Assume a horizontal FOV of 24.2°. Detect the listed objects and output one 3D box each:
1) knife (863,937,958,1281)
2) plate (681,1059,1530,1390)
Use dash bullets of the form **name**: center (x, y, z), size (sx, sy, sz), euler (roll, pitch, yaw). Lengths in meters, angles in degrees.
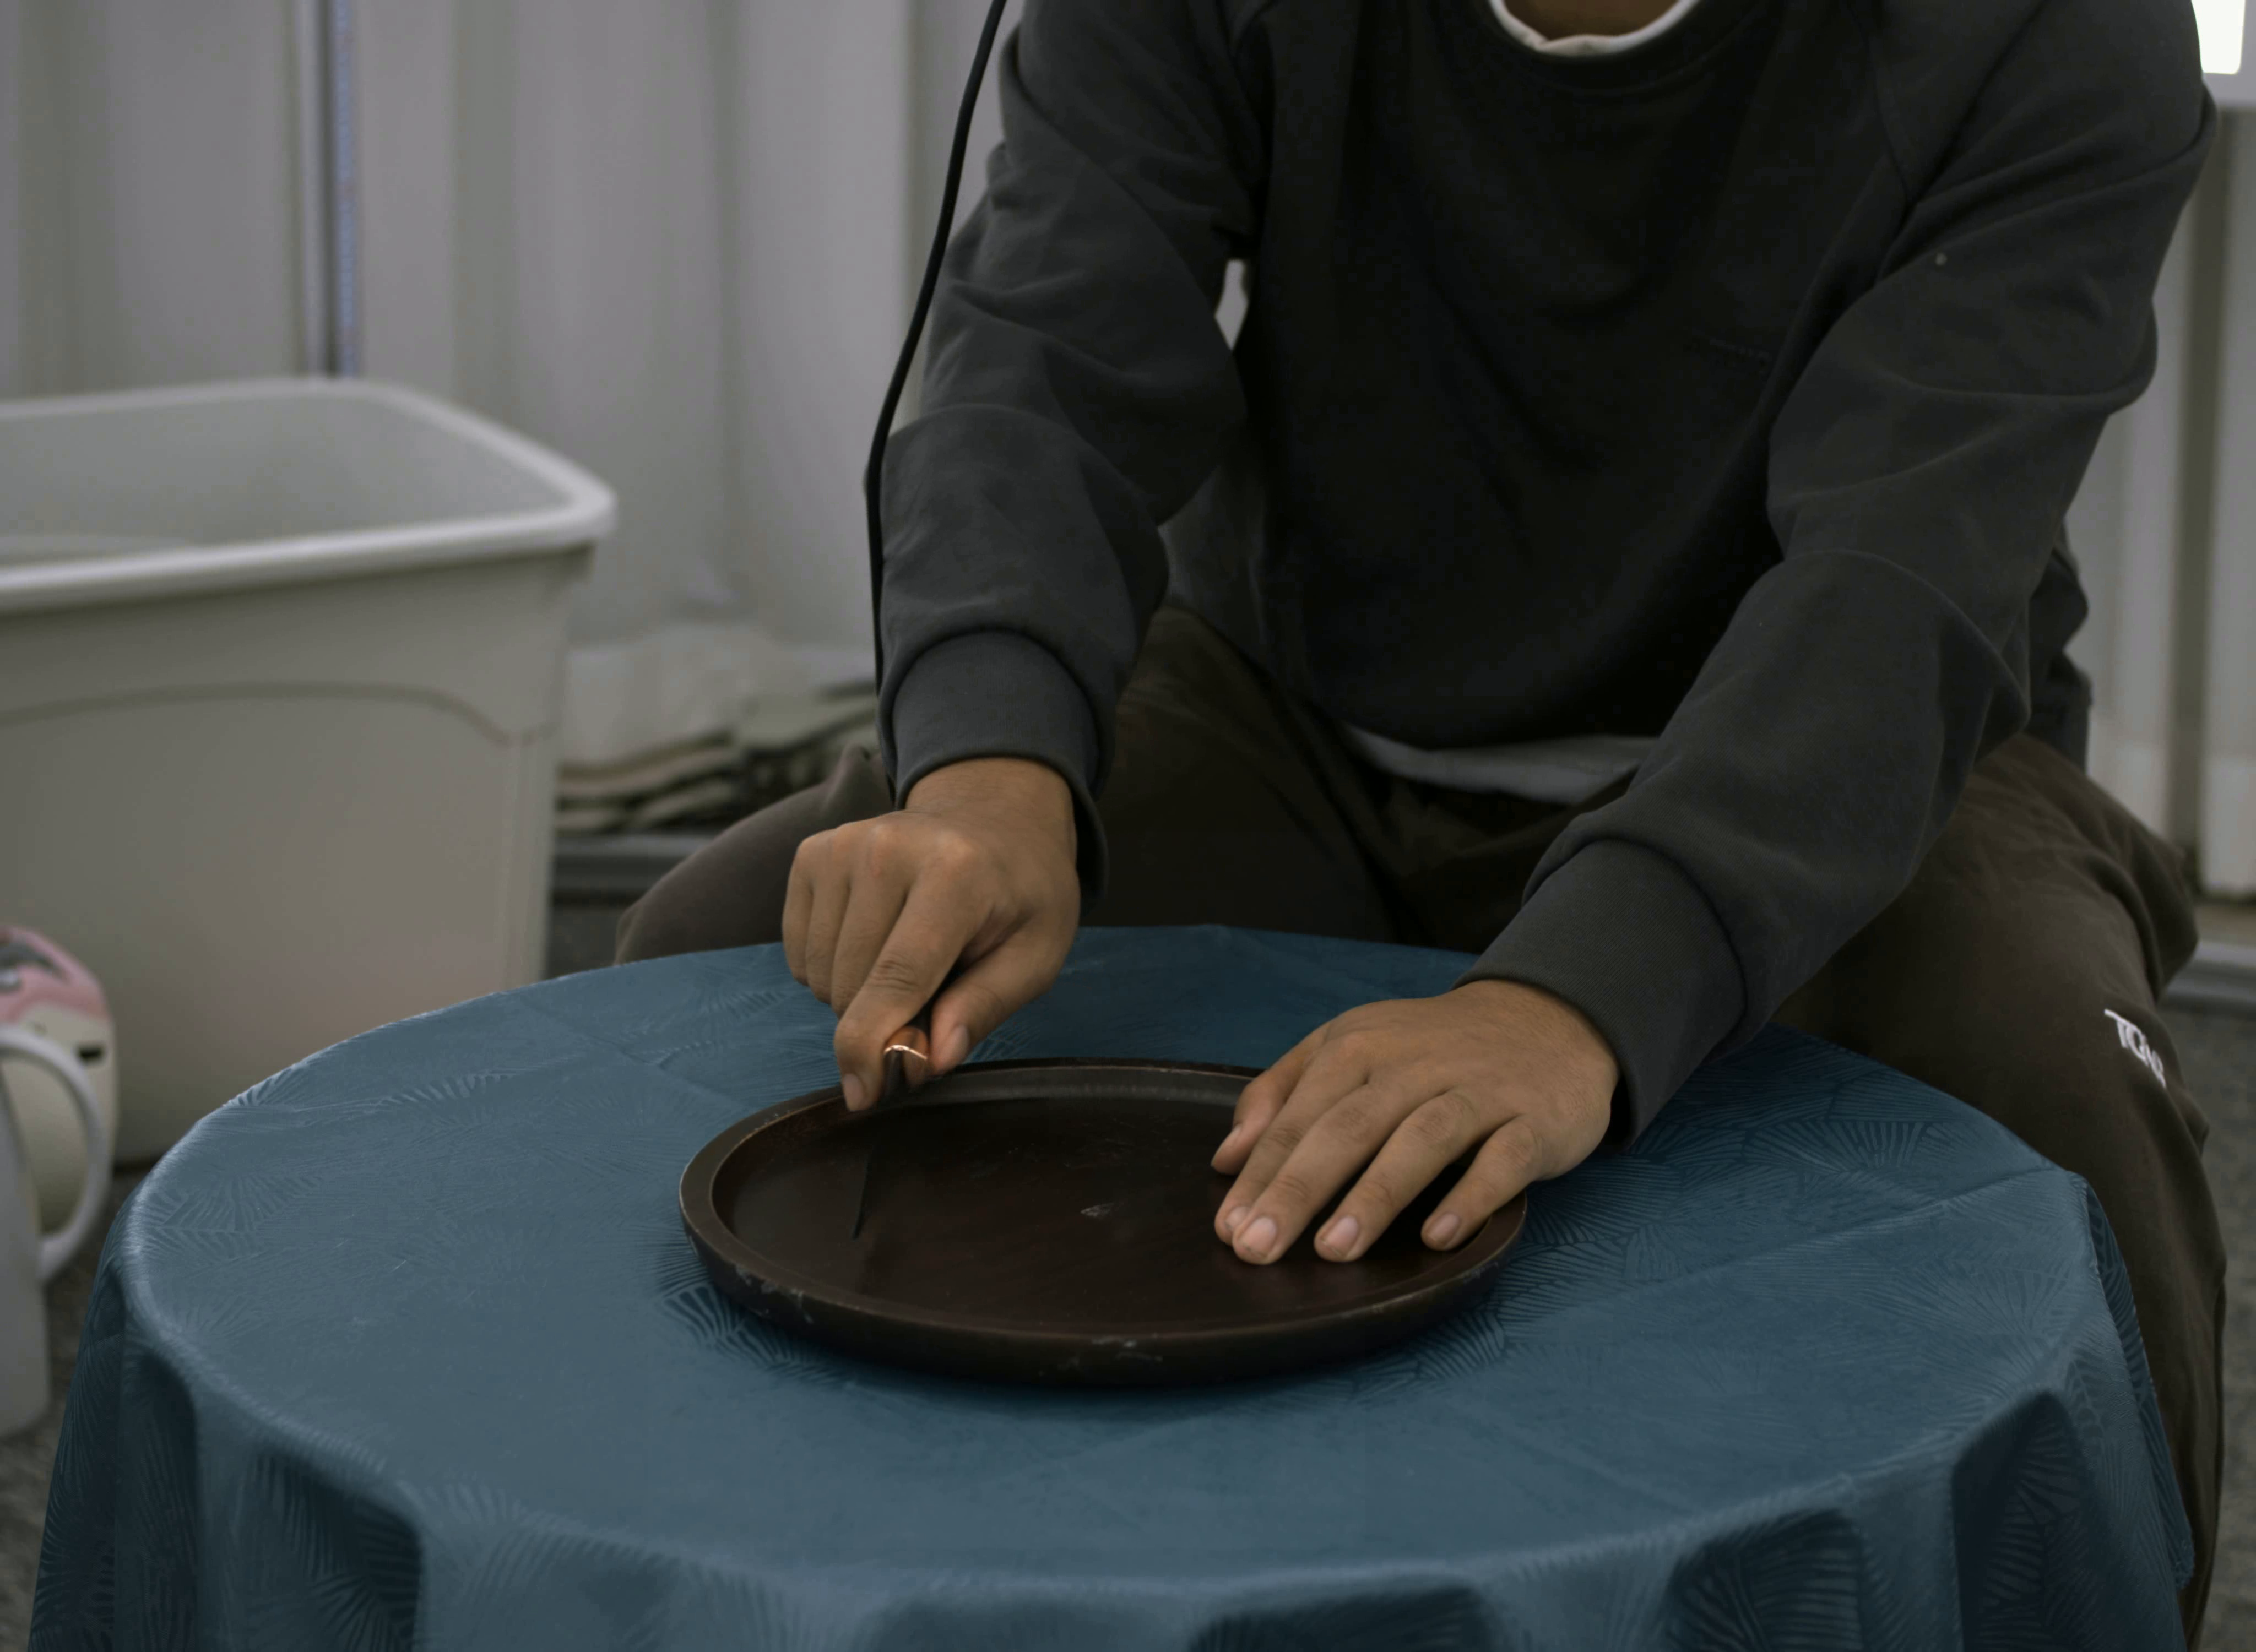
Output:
- **knife**: center (-0.068, 0.083, 1.616), size (0.017, 0.026, 0.224), euler (-2, 21, 4)
- **plate**: center (-0.007, 0.116, 1.570), size (0.254, 0.029, 0.253), euler (0, 14, 1)
